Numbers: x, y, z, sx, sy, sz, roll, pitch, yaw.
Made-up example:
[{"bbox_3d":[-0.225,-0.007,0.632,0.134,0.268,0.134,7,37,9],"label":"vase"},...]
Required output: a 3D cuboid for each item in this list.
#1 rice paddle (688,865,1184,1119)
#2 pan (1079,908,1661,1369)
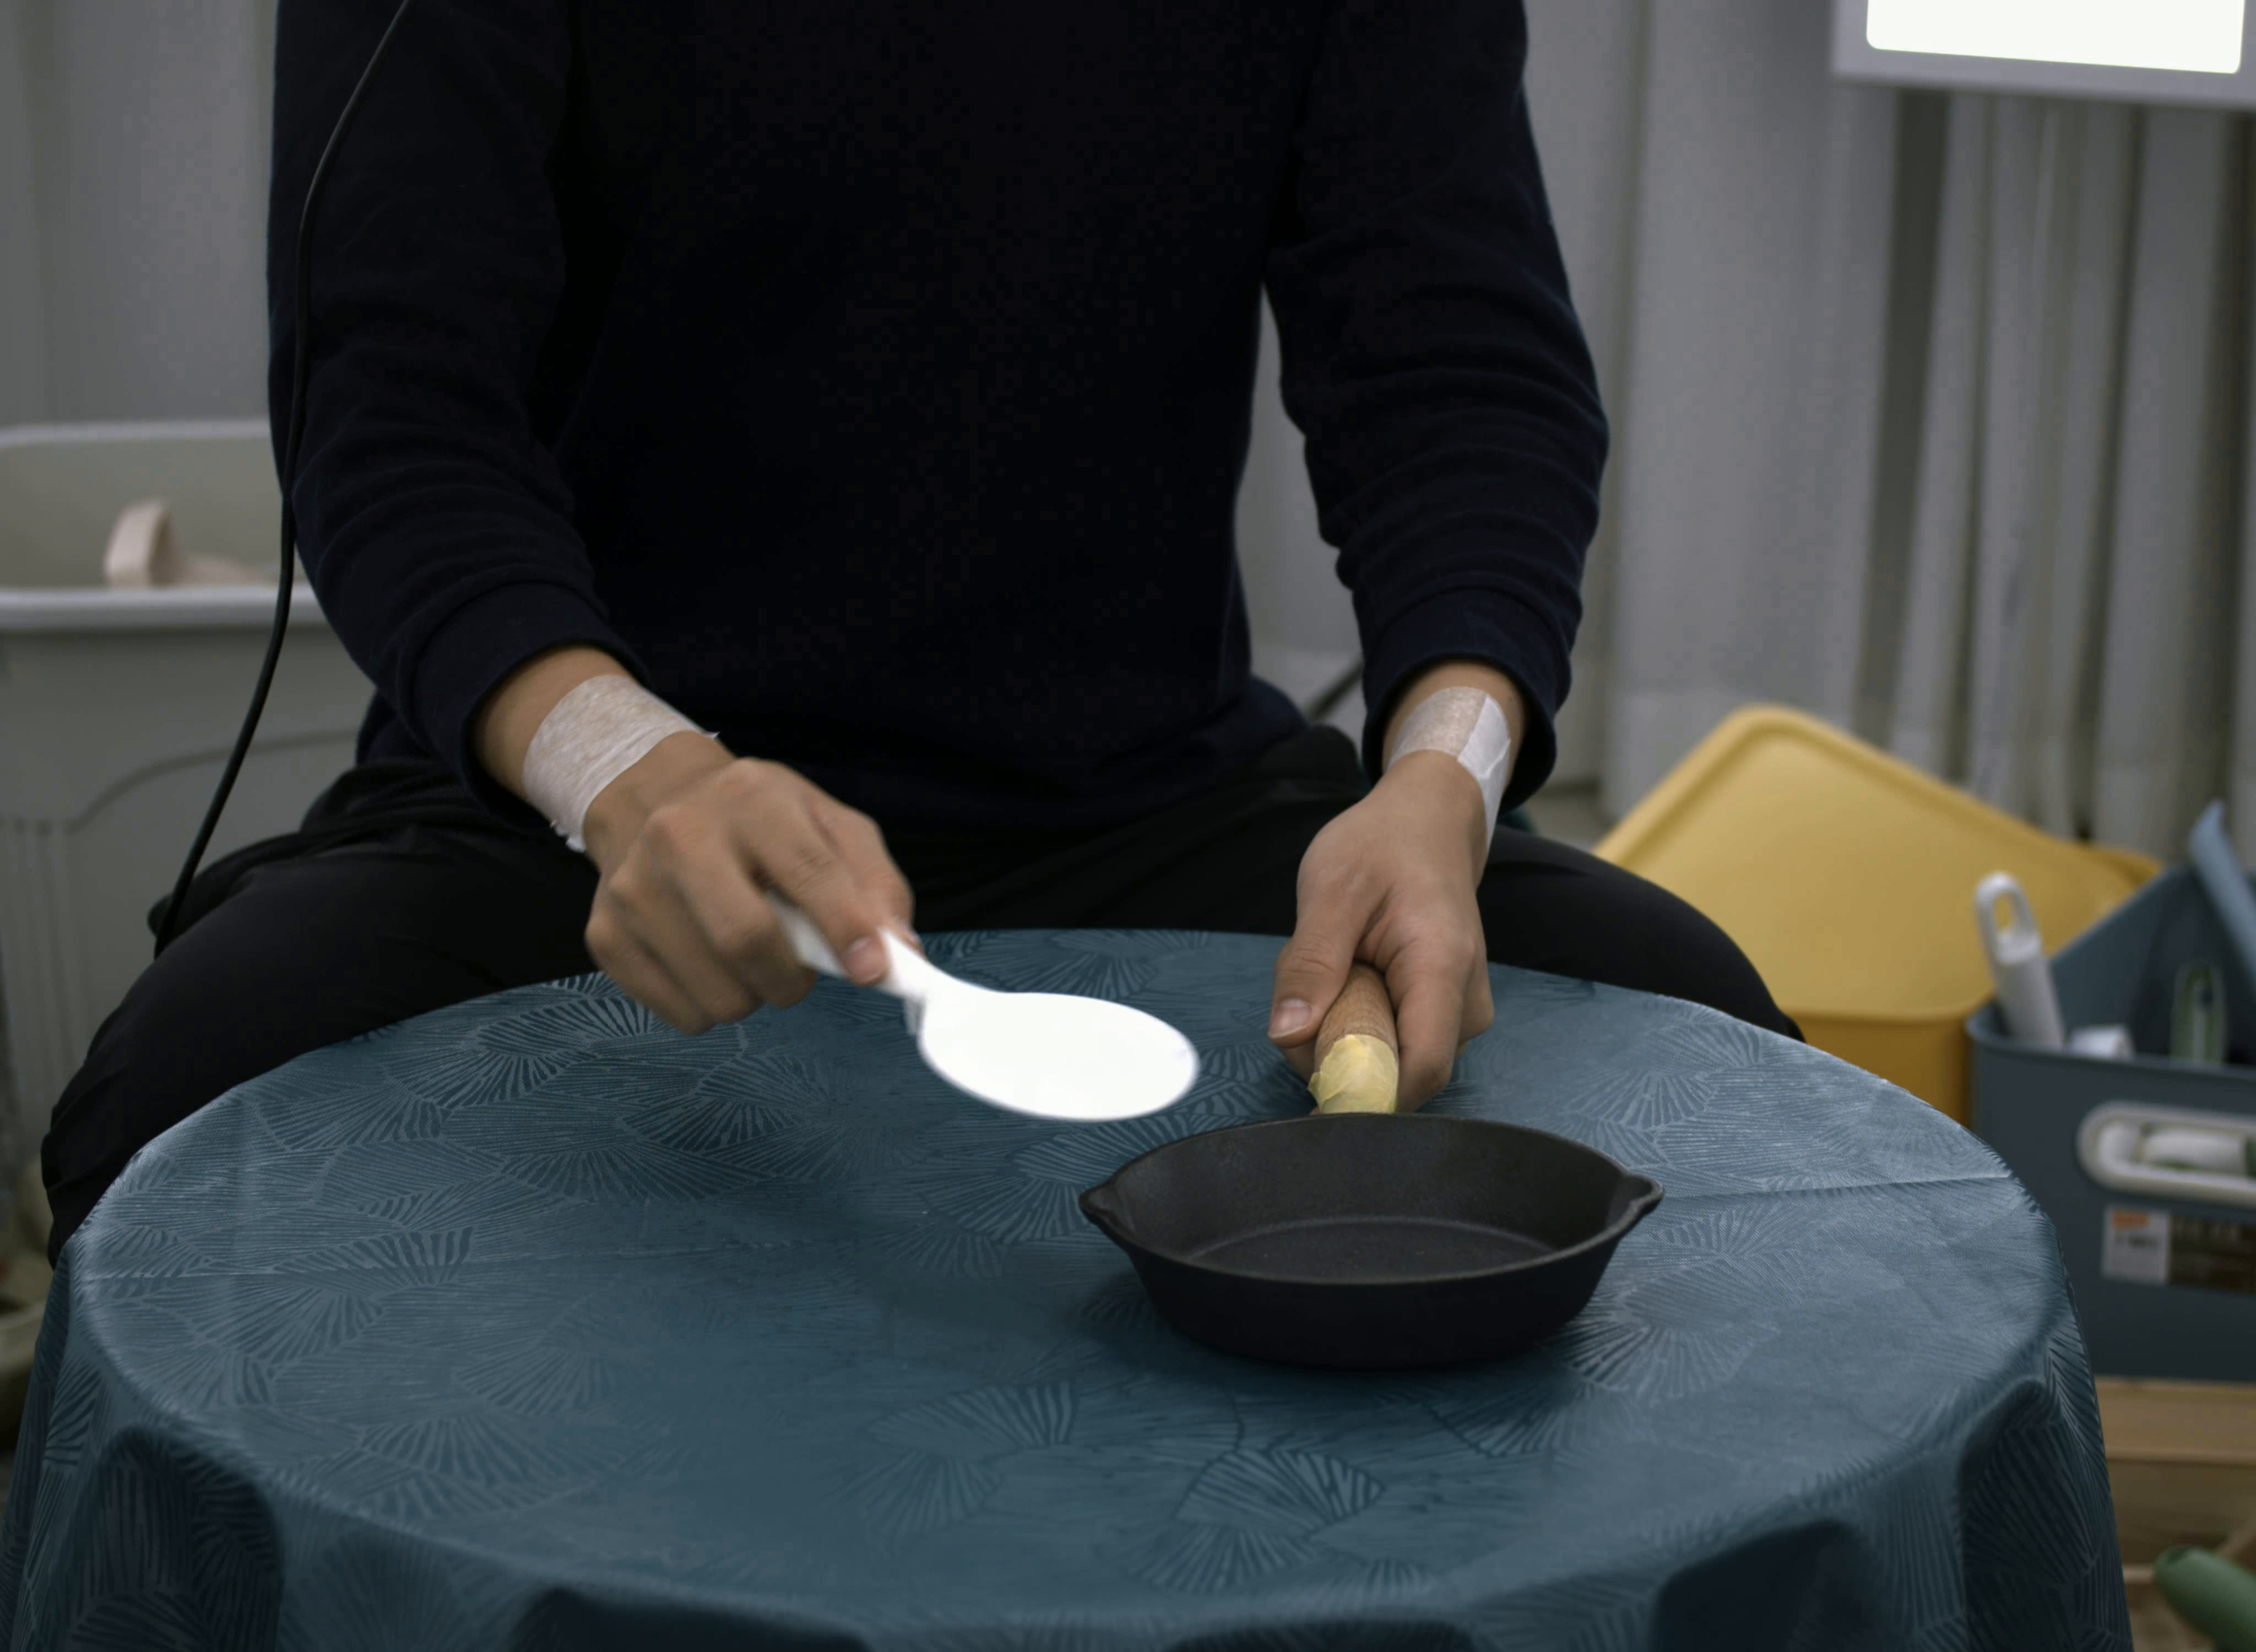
[{"bbox_3d":[-0.060,0.050,1.560,0.069,0.030,0.202,-24,29,-34],"label":"rice paddle"},{"bbox_3d":[0.074,0.092,1.605,0.168,0.050,0.322,-1,16,3],"label":"pan"}]
